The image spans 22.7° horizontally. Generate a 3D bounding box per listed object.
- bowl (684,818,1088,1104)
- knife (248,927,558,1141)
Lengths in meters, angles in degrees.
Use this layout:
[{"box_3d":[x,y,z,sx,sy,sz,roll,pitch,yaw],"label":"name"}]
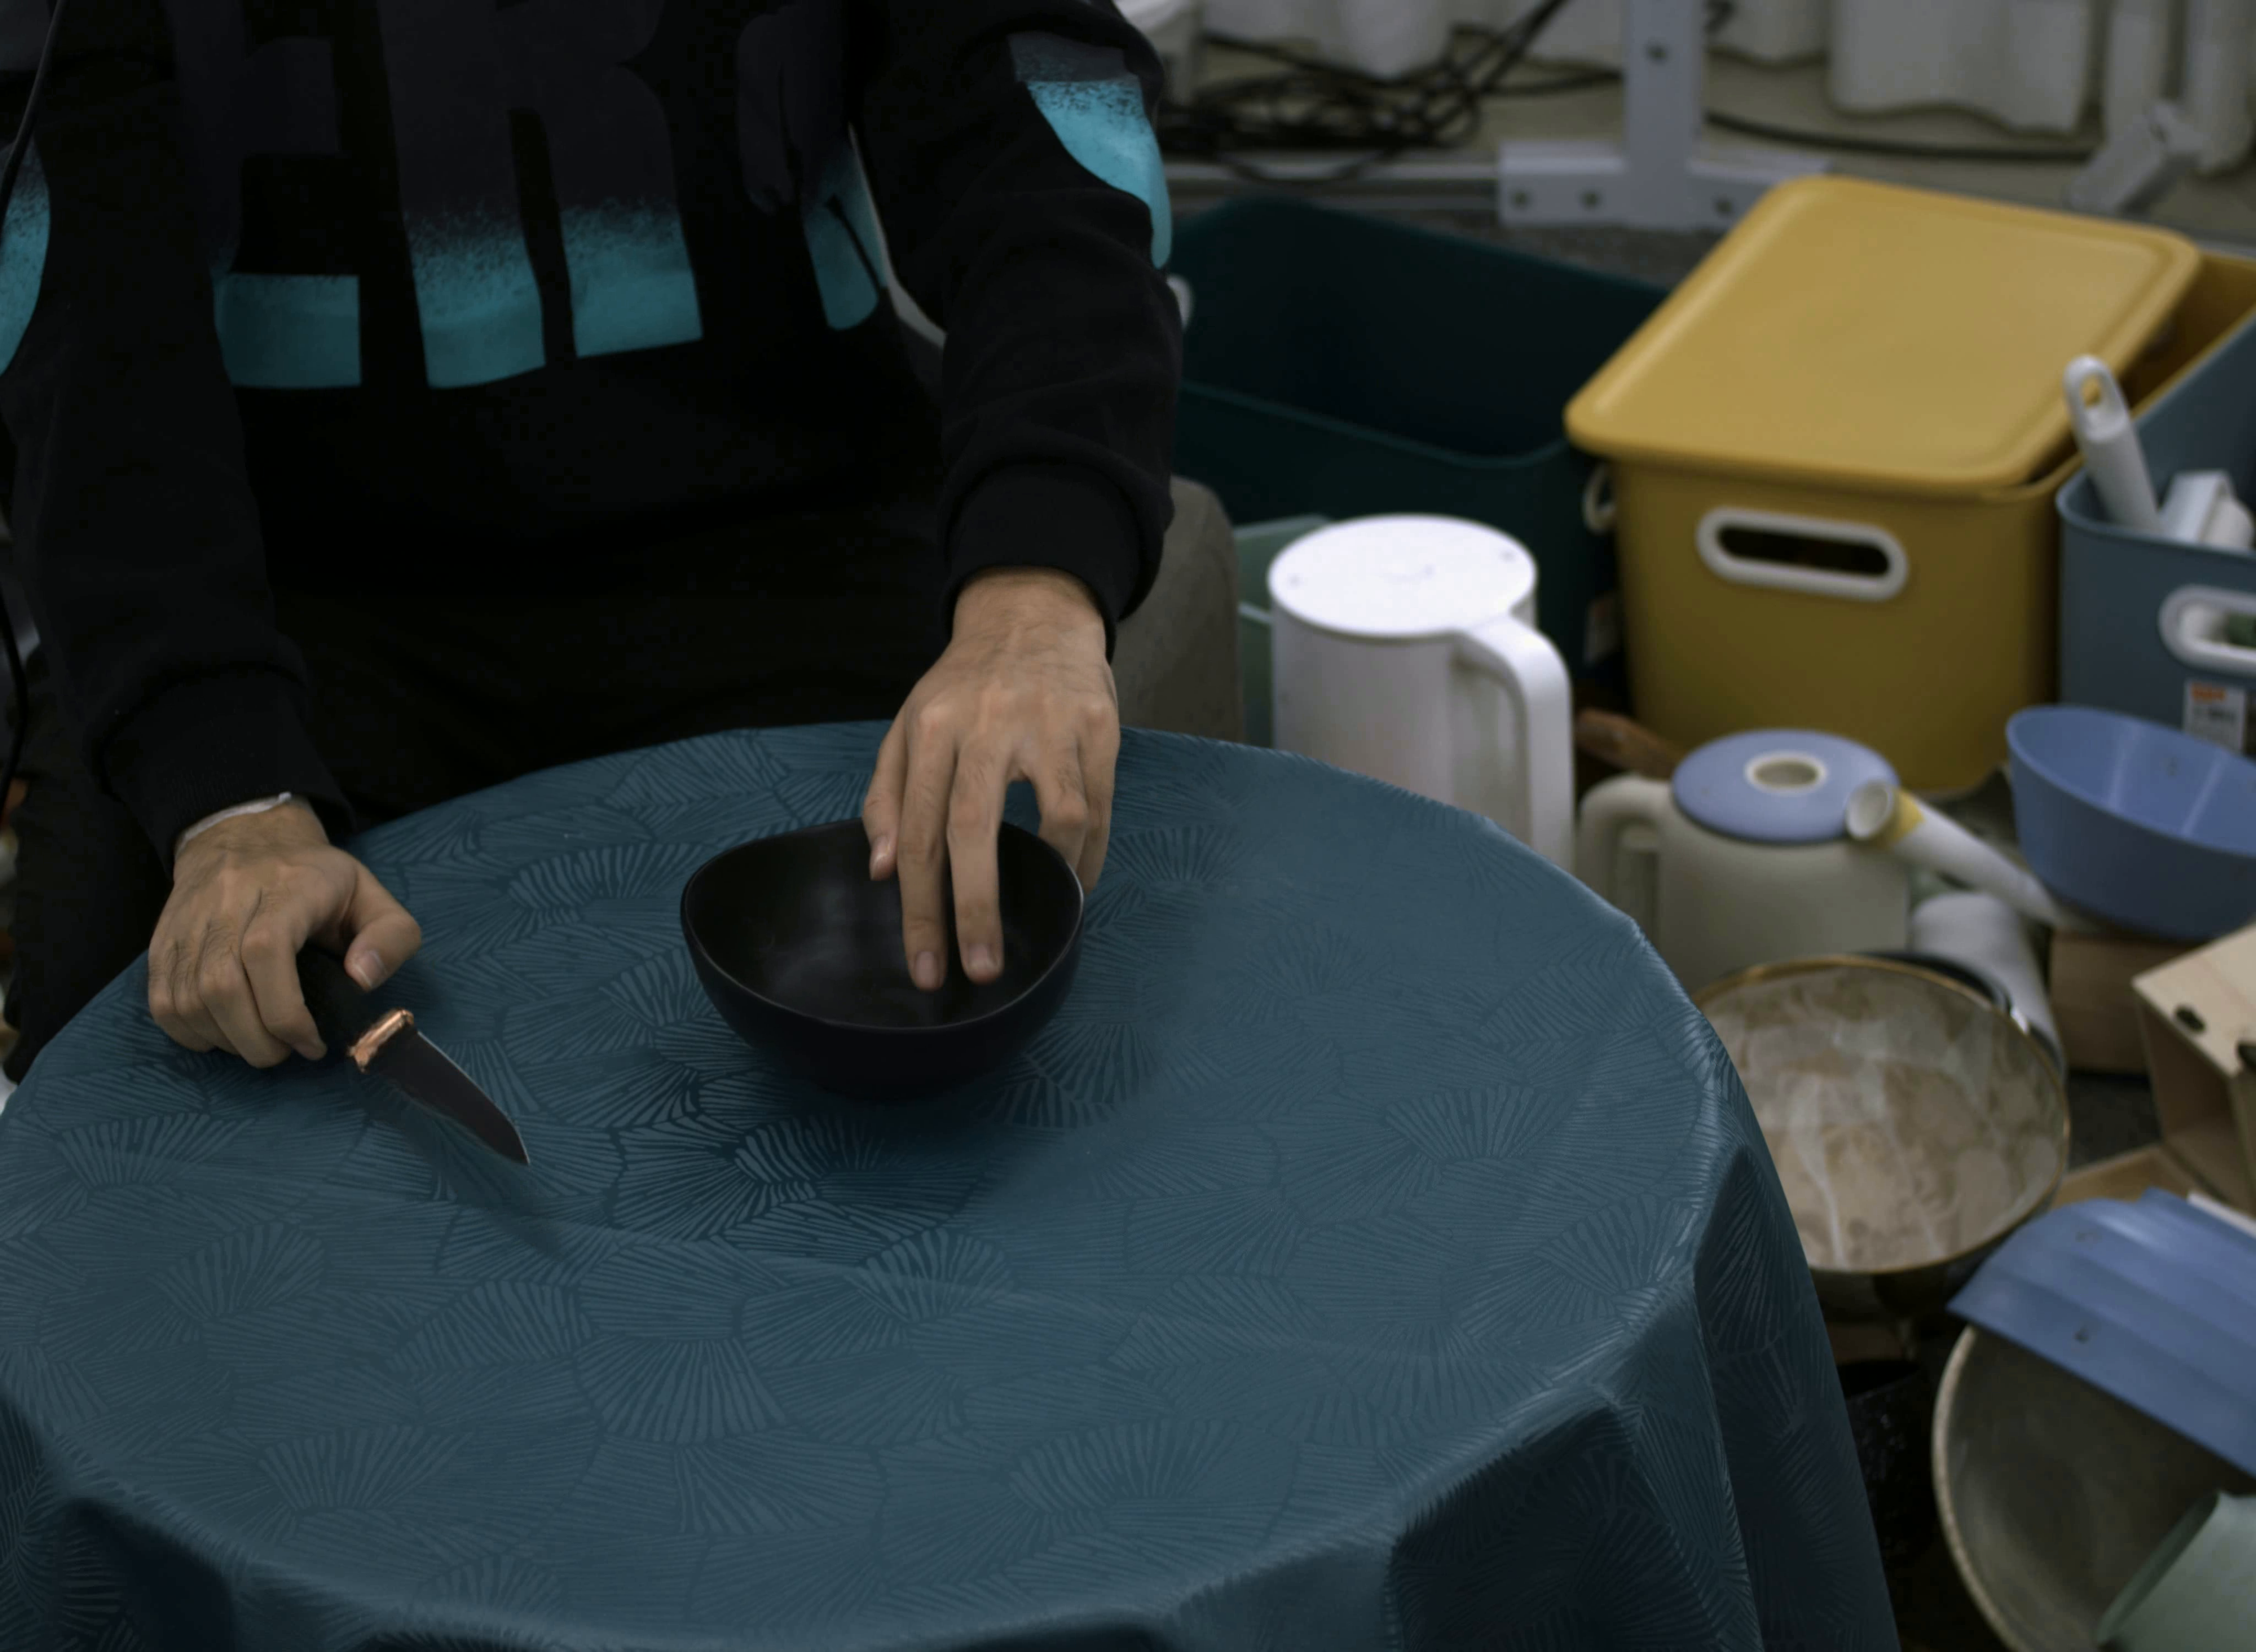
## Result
[{"box_3d":[-0.083,0.053,1.934,0.137,0.066,0.171,-11,26,-16],"label":"bowl"},{"box_3d":[-0.250,0.075,1.923,0.026,0.017,0.225,-53,36,-7],"label":"knife"}]
